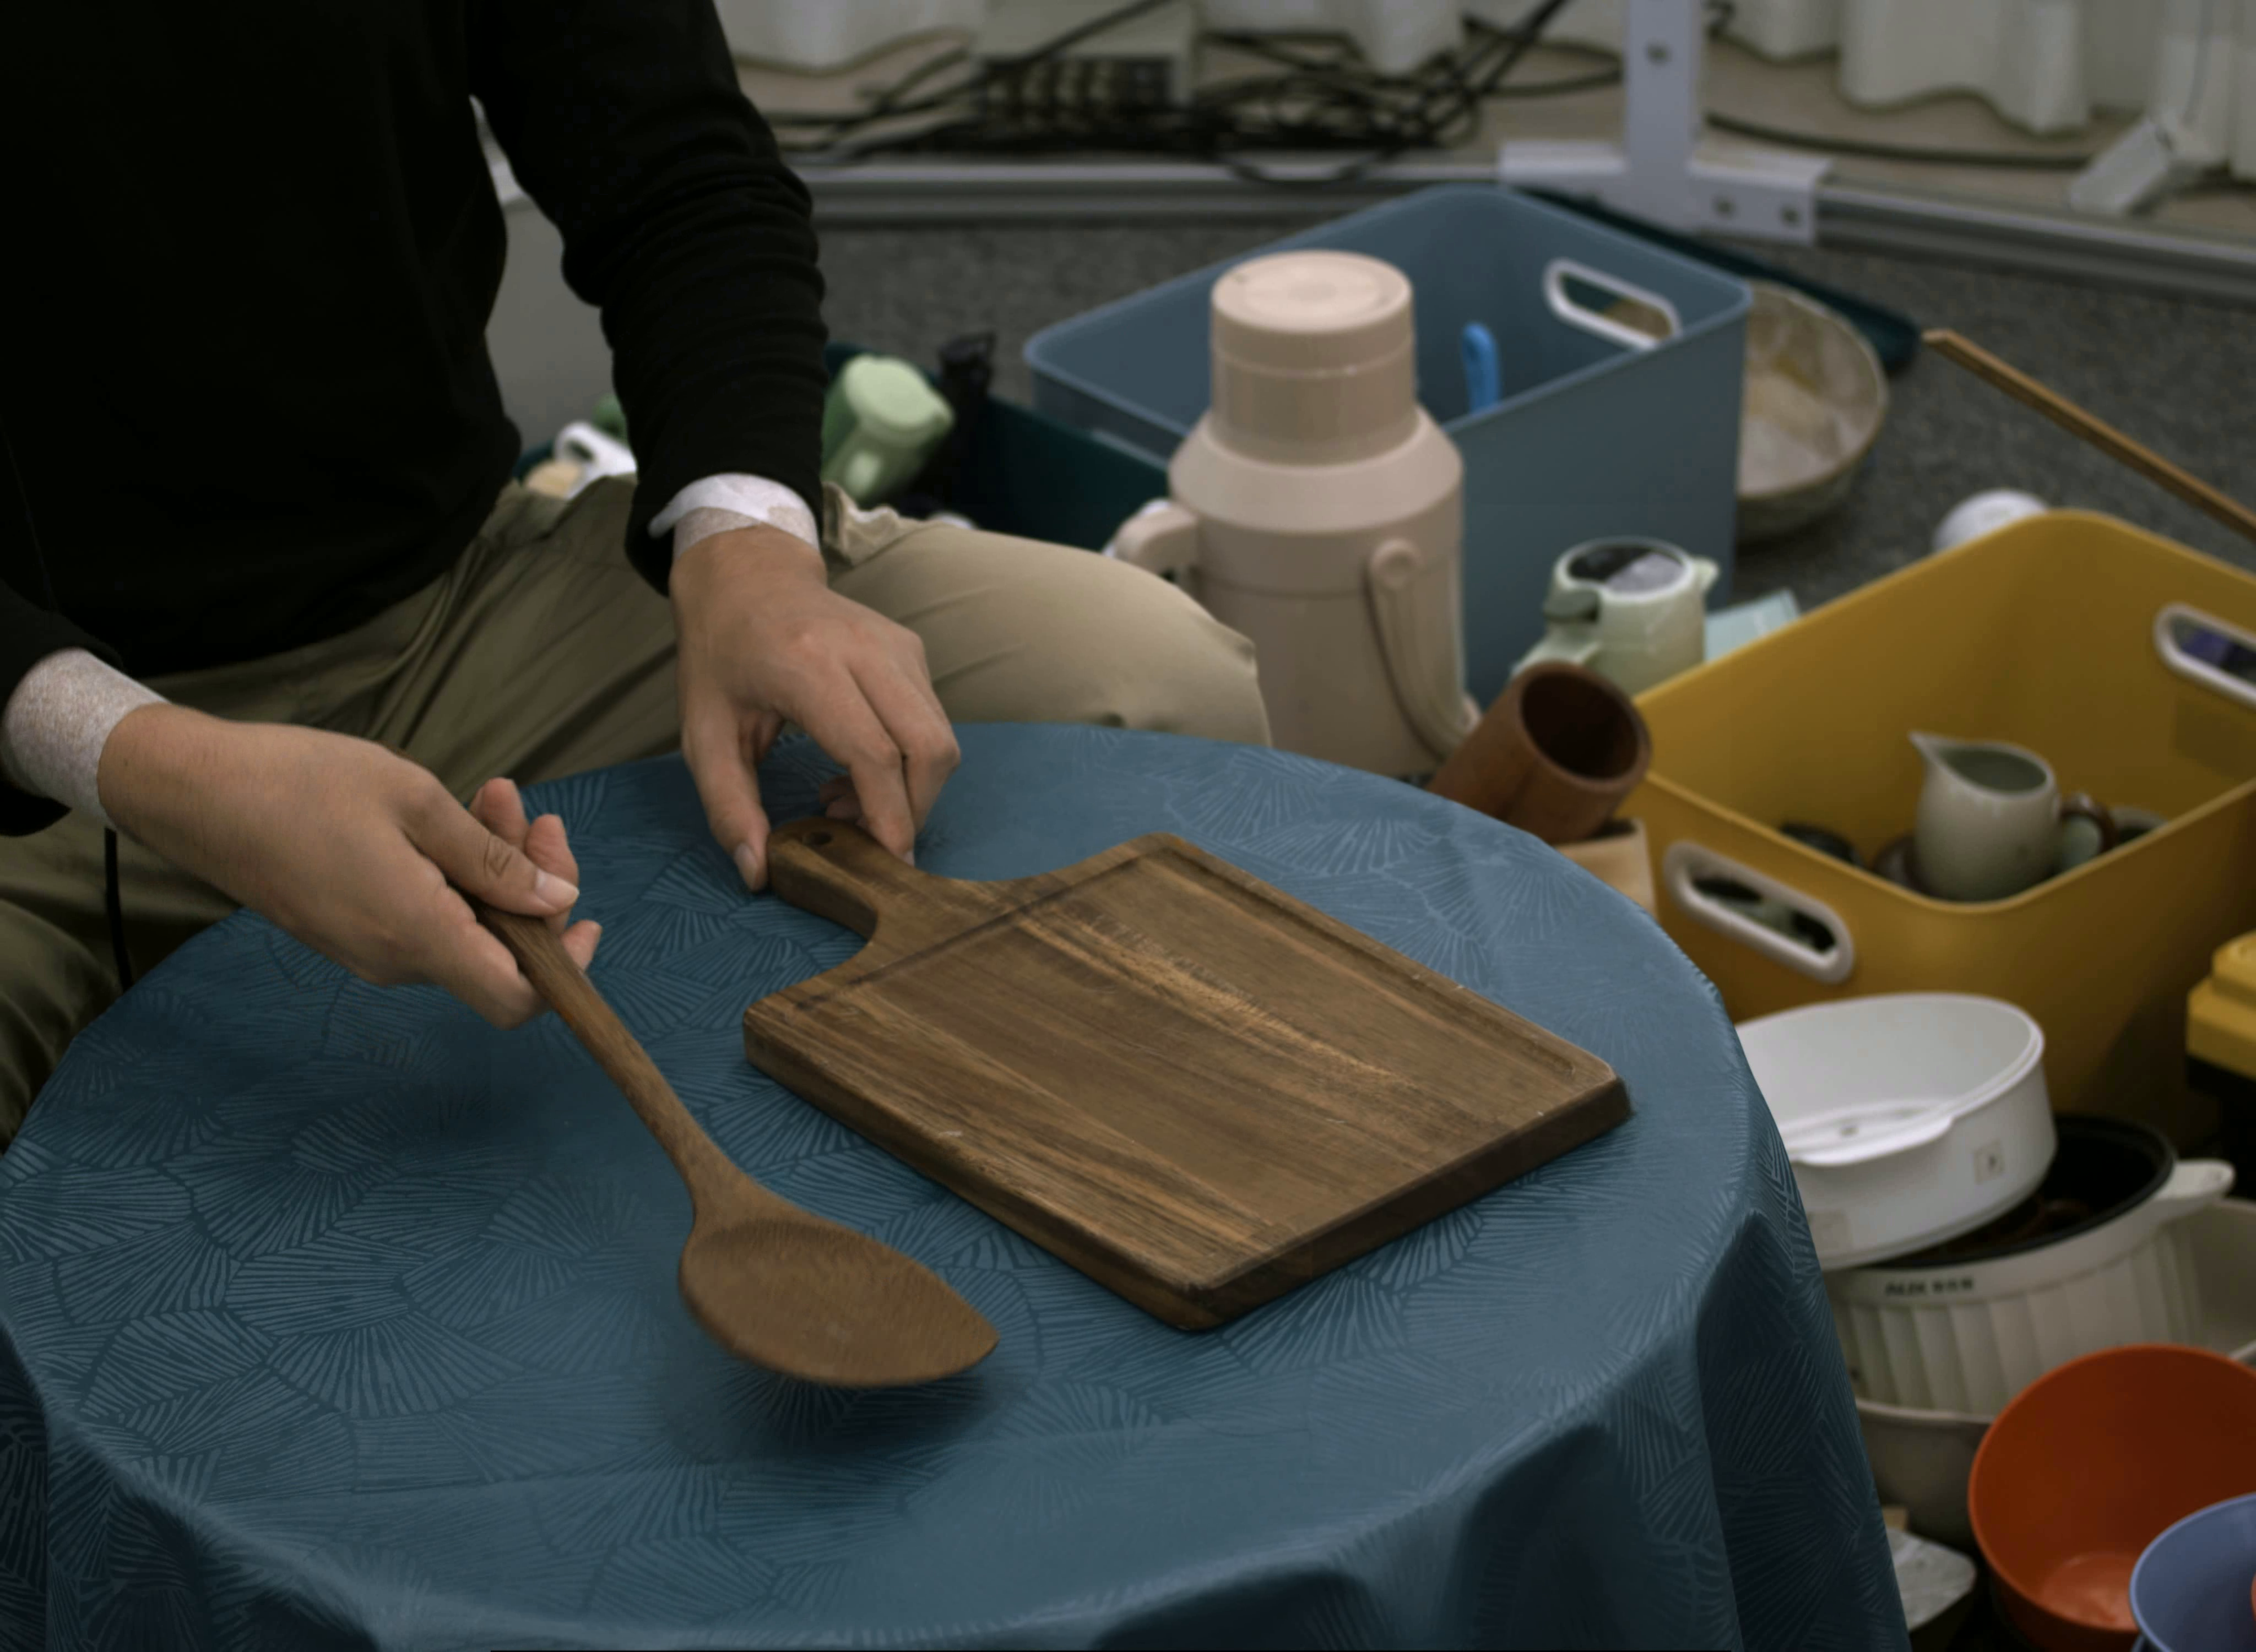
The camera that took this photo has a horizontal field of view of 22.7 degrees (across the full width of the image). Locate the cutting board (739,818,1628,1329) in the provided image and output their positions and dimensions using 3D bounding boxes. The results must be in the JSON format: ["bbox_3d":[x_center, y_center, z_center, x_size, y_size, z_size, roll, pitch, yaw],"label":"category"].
[{"bbox_3d":[-0.015,0.065,1.950,0.203,0.023,0.352,-23,33,-34],"label":"cutting board"}]

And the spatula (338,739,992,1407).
[{"bbox_3d":[-0.172,0.073,1.850,0.096,0.015,0.389,-3,35,-36],"label":"spatula"}]
